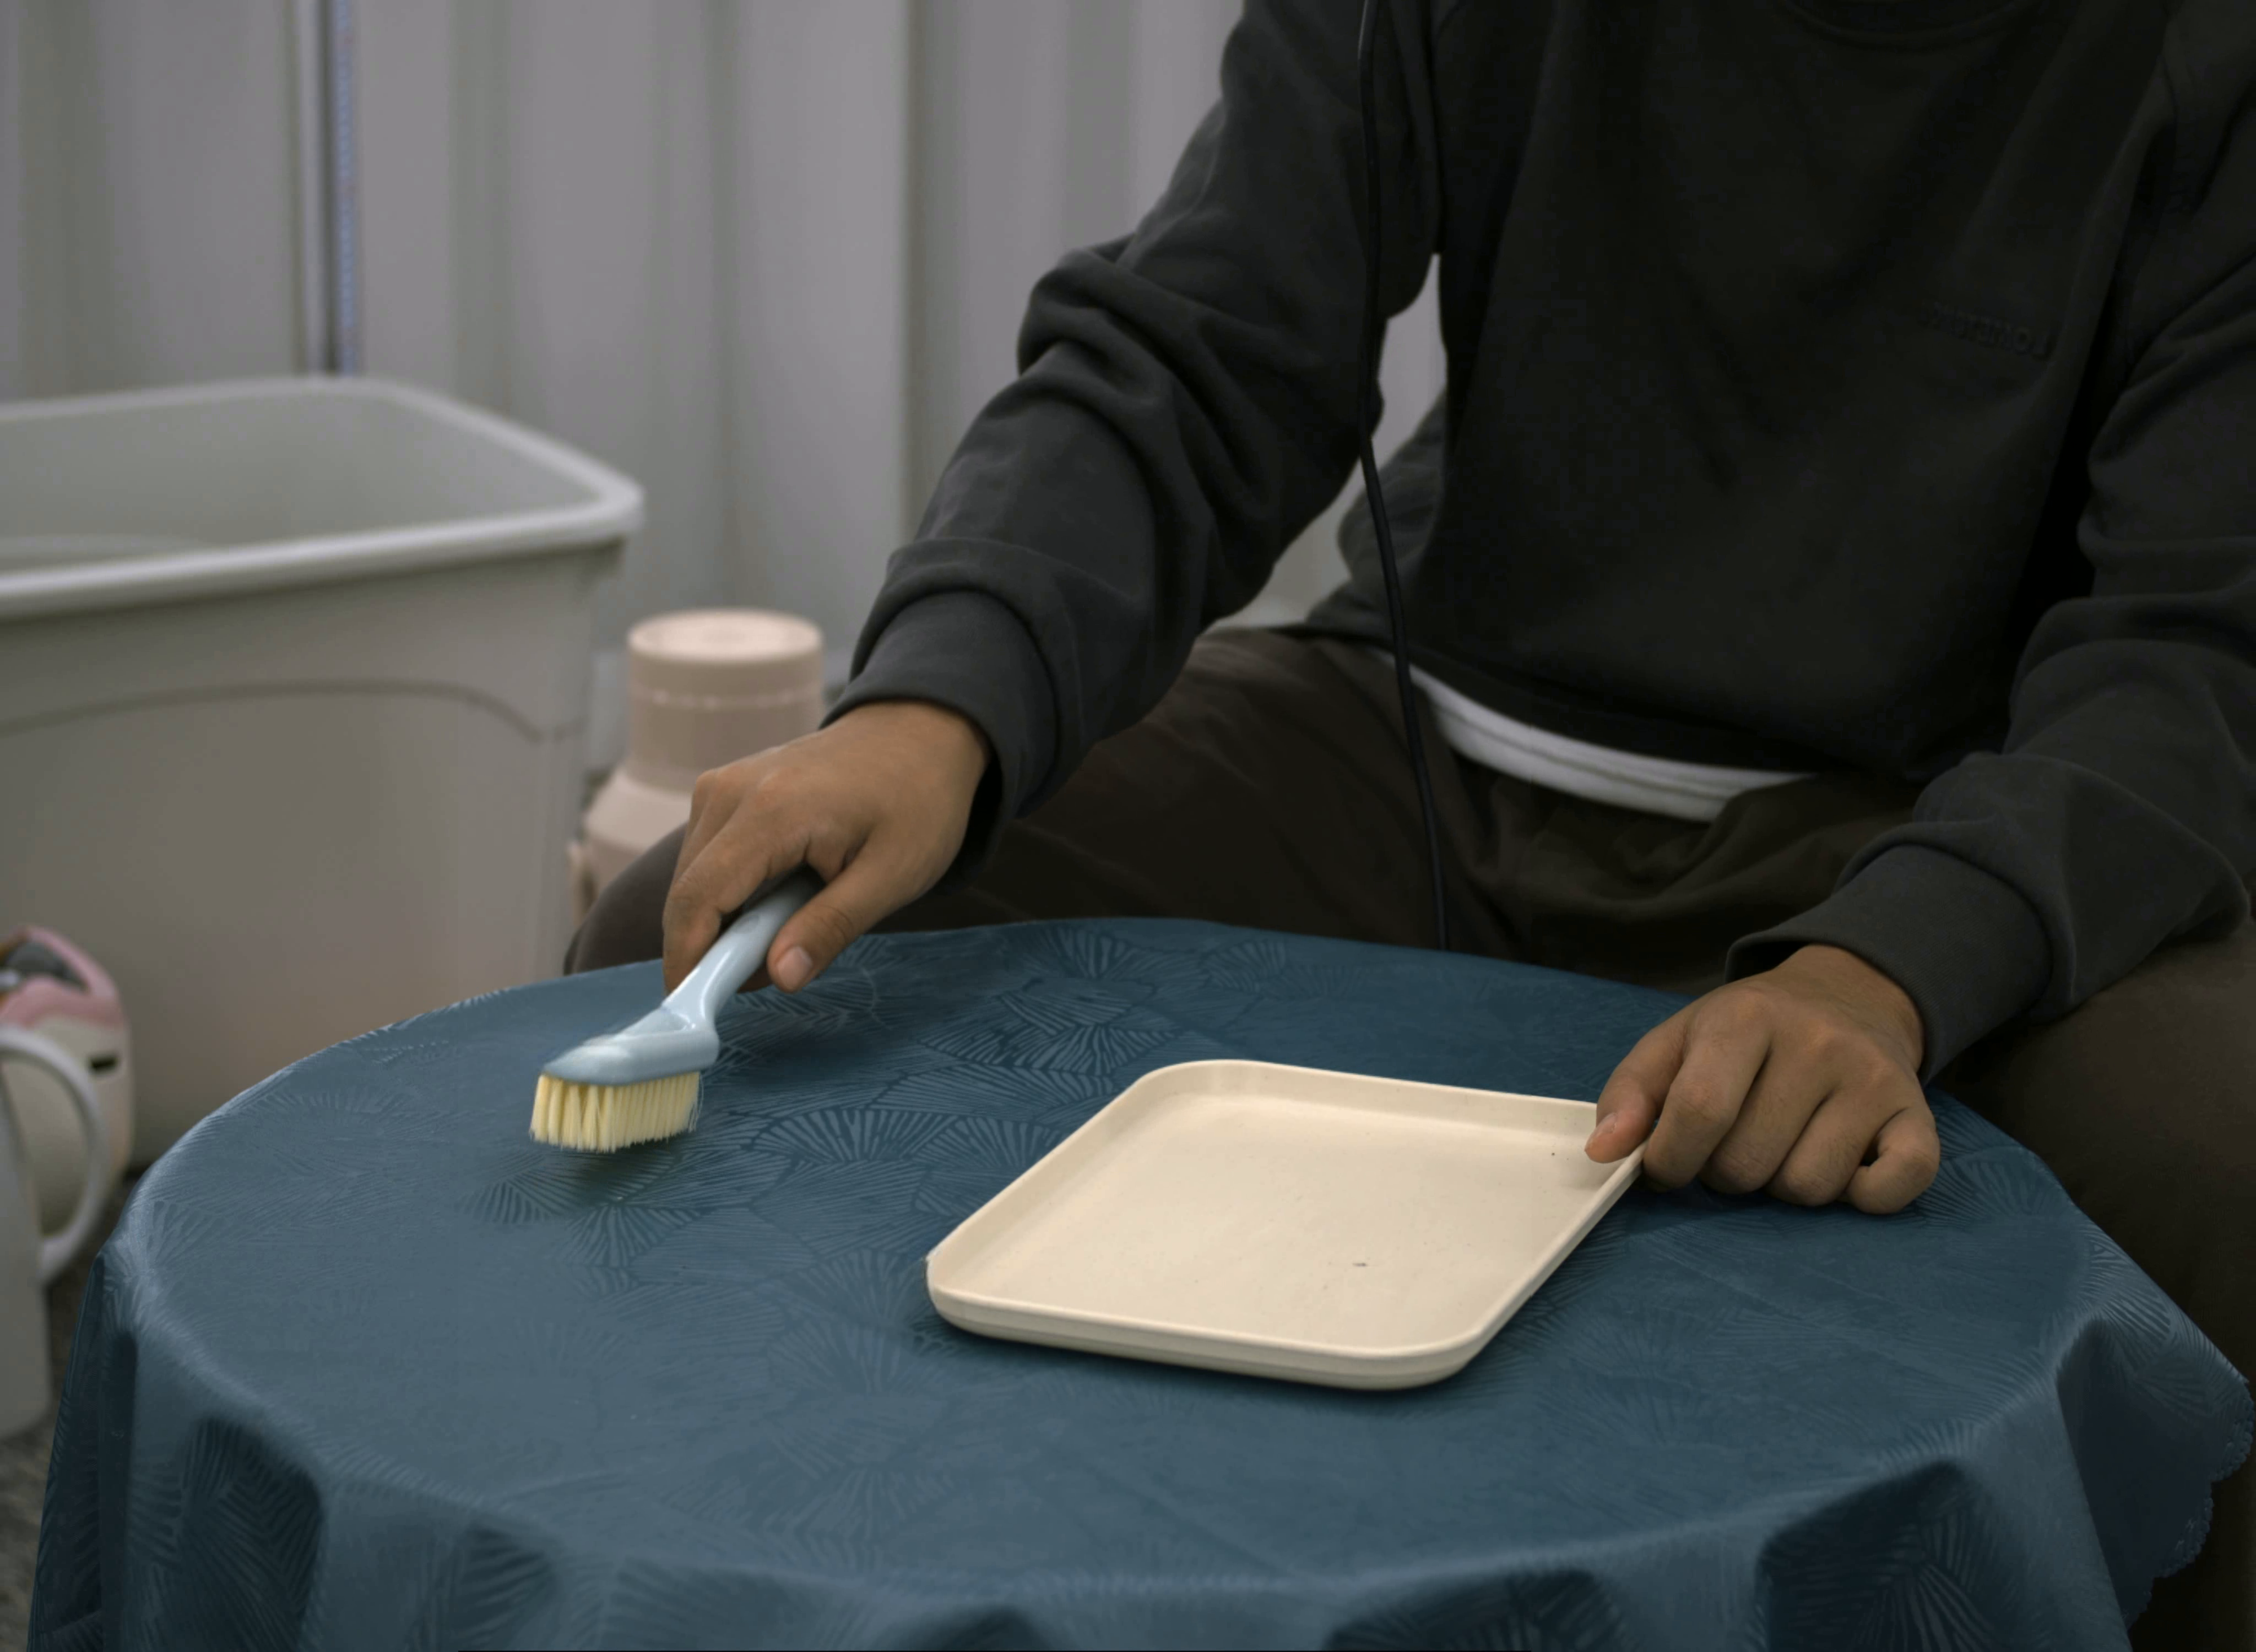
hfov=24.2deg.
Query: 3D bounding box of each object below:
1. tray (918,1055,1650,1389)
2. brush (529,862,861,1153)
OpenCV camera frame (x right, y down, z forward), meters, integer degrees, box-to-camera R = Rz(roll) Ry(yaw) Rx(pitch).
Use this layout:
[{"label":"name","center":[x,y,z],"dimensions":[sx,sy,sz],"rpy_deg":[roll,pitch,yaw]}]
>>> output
[{"label":"tray","center":[0.051,0.117,1.578],"dimensions":[0.169,0.017,0.240],"rpy_deg":[7,16,19]},{"label":"brush","center":[-0.137,0.059,1.710],"dimensions":[0.037,0.050,0.228],"rpy_deg":[9,20,16]}]
